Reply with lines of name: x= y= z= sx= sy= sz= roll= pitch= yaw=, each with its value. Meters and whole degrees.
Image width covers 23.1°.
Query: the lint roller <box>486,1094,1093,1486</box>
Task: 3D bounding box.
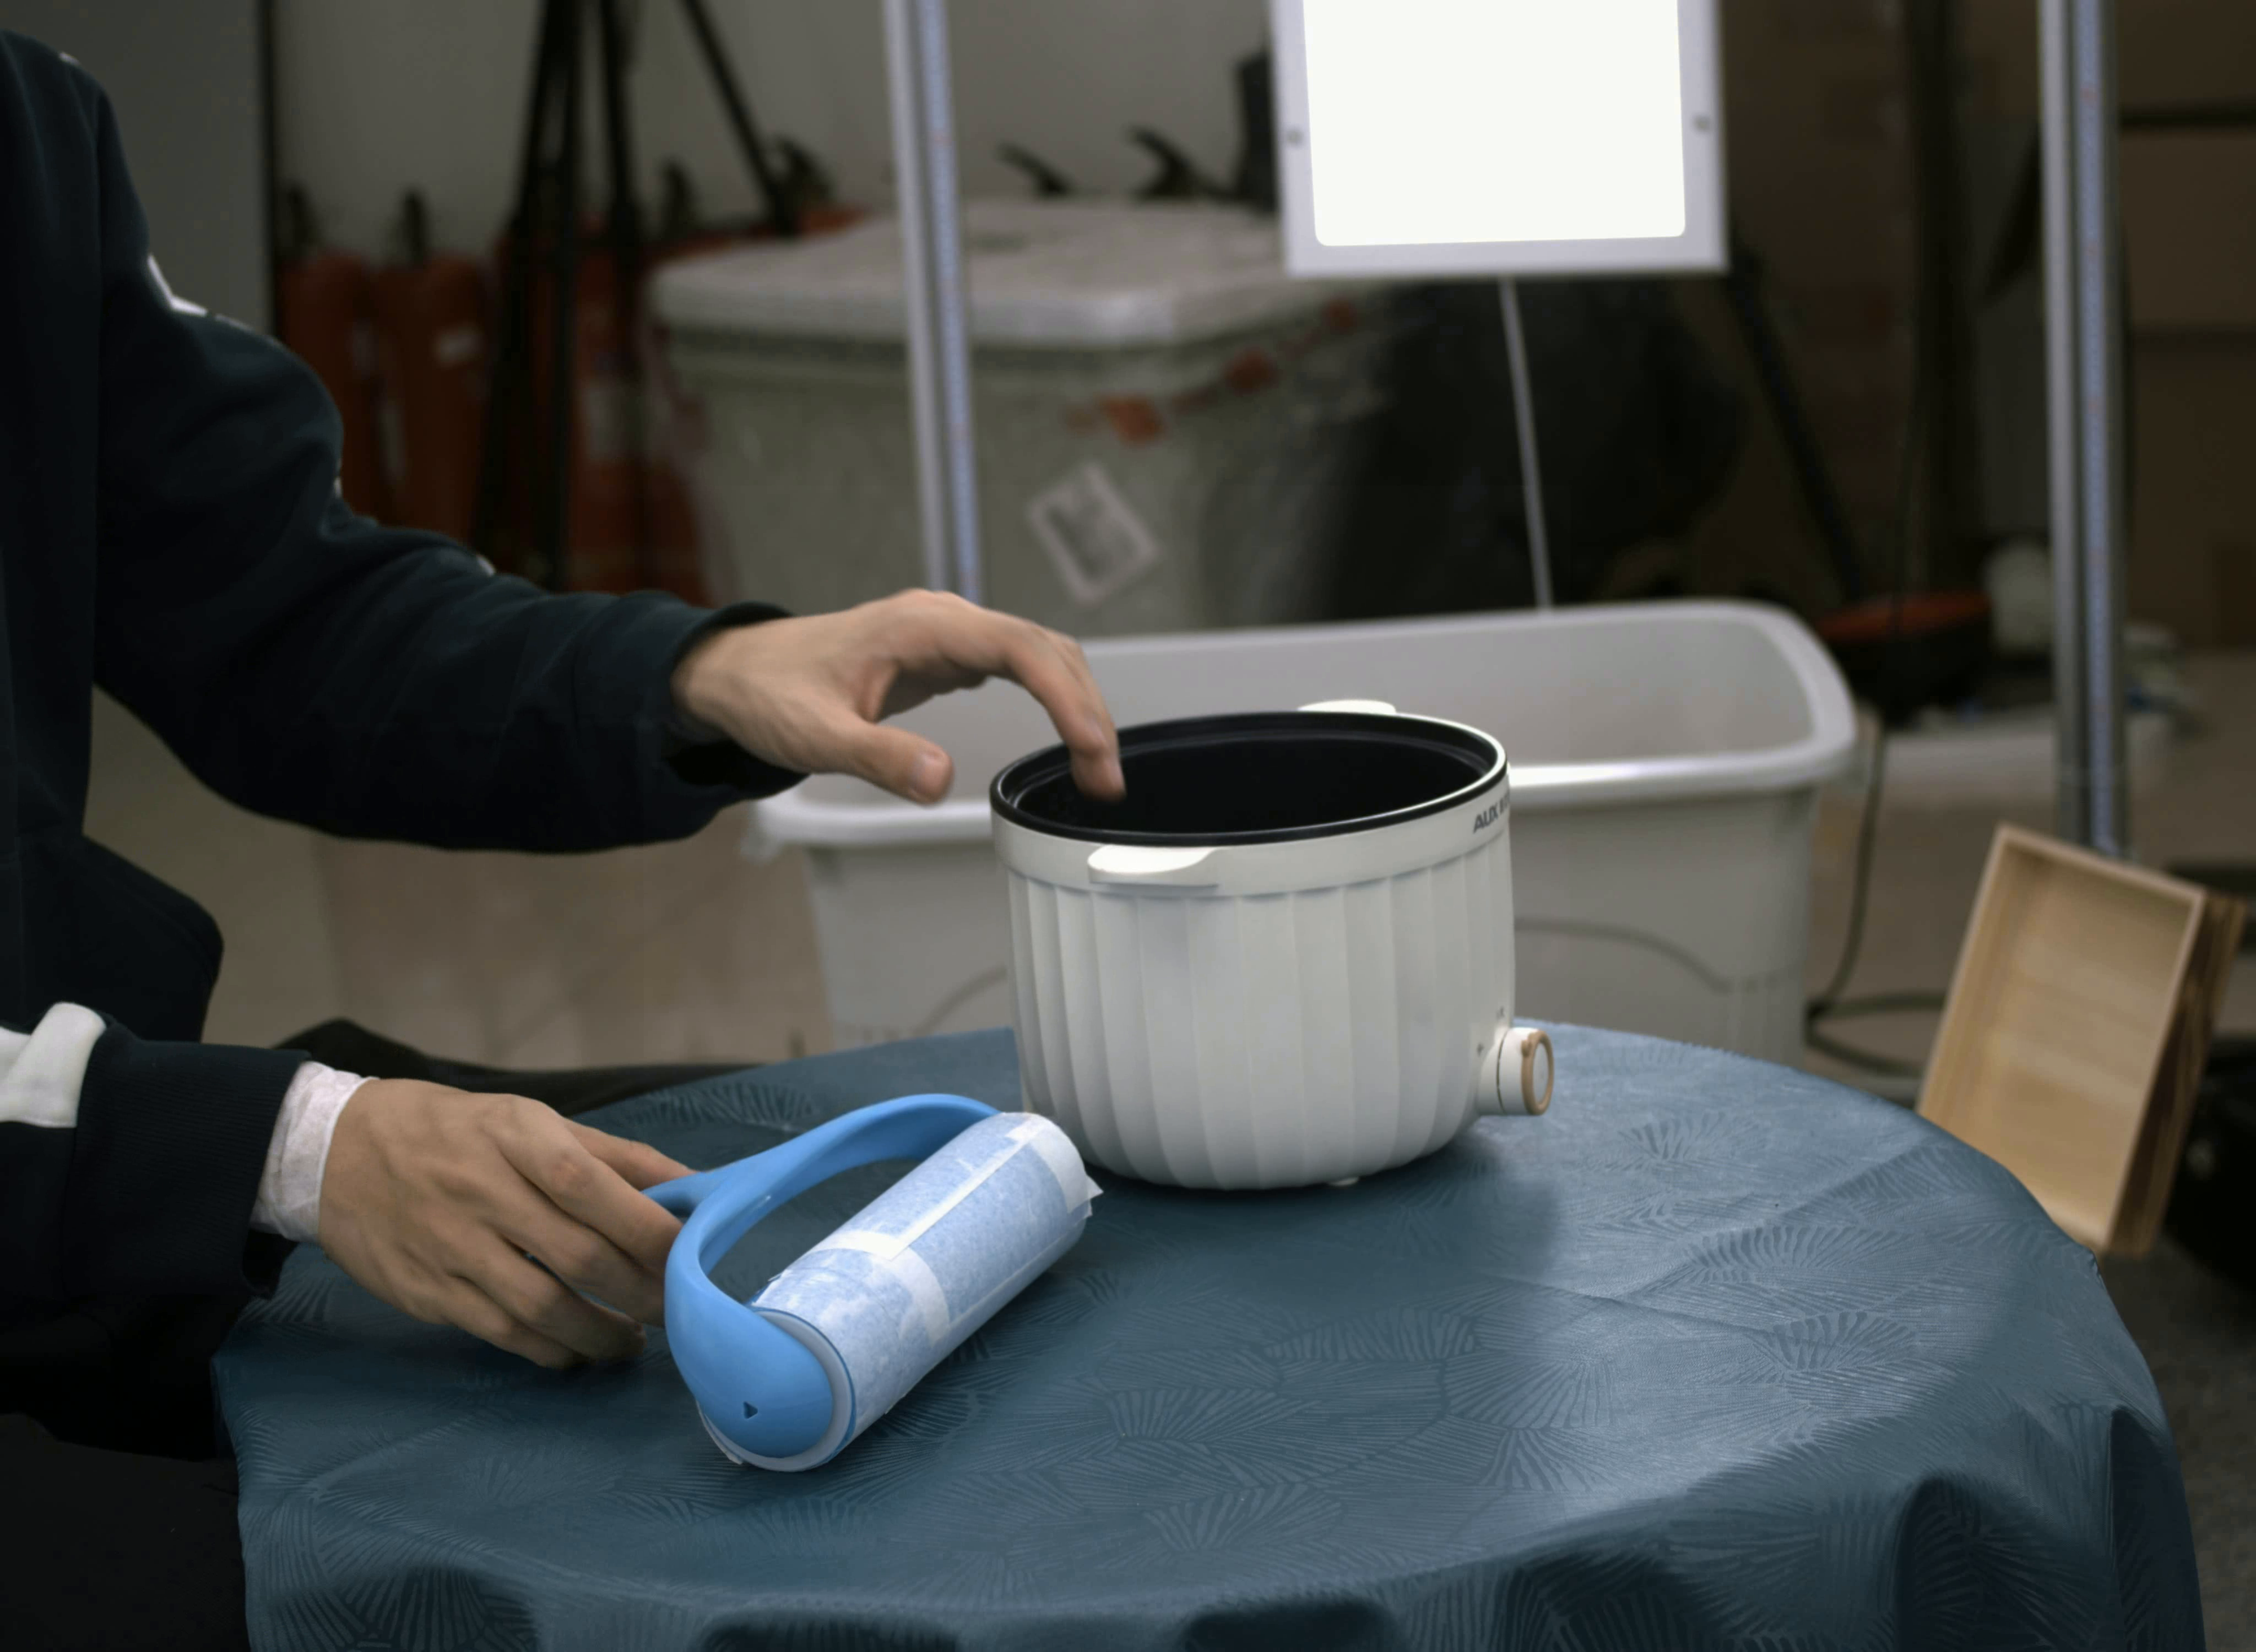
lint roller: x=-0.124 y=0.143 z=1.755 sx=0.182 sy=0.068 sz=0.225 roll=2 pitch=18 yaw=18

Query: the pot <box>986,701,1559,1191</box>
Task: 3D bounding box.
pot: x=0.052 y=0.044 z=1.919 sx=0.193 sy=0.143 sz=0.236 roll=-3 pitch=15 yaw=22
